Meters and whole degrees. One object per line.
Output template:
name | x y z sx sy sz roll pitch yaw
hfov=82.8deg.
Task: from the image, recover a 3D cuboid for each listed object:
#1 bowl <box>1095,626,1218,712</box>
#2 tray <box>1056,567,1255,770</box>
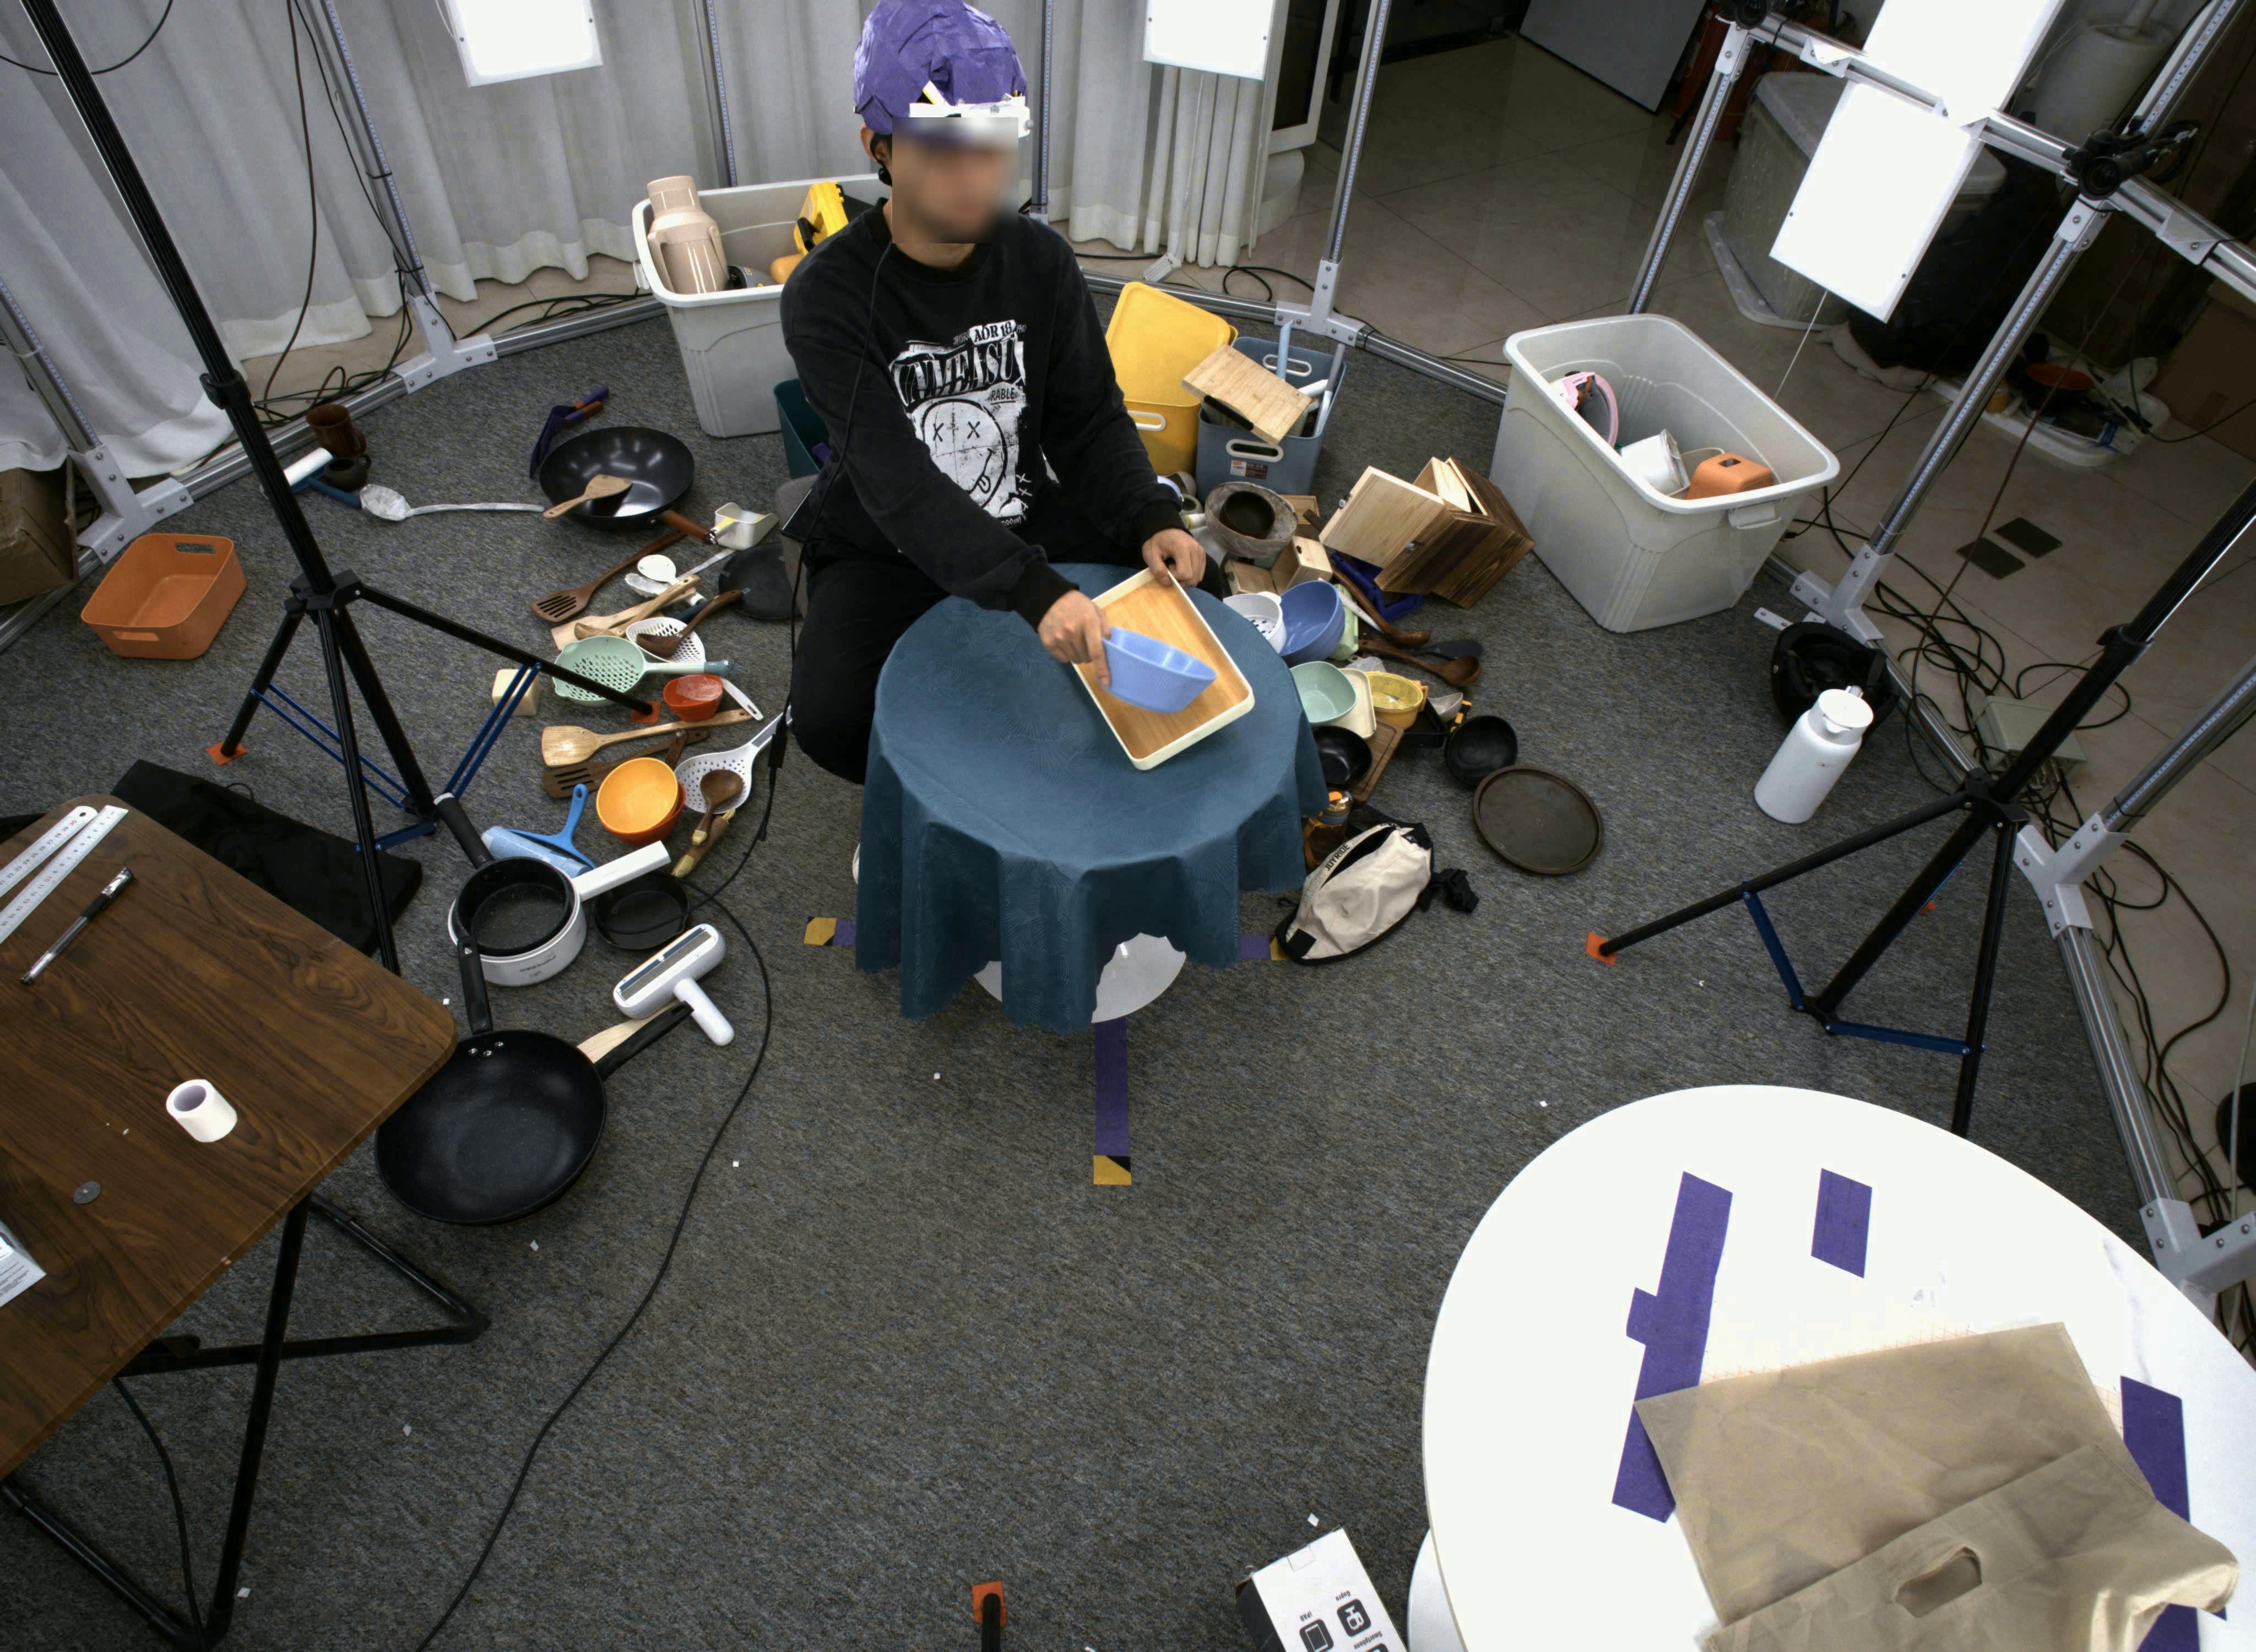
bowl | 0.028 -0.206 1.716 0.175 0.069 0.178 19 17 -6
tray | 0.034 -0.228 1.825 0.191 0.027 0.307 -30 54 0
